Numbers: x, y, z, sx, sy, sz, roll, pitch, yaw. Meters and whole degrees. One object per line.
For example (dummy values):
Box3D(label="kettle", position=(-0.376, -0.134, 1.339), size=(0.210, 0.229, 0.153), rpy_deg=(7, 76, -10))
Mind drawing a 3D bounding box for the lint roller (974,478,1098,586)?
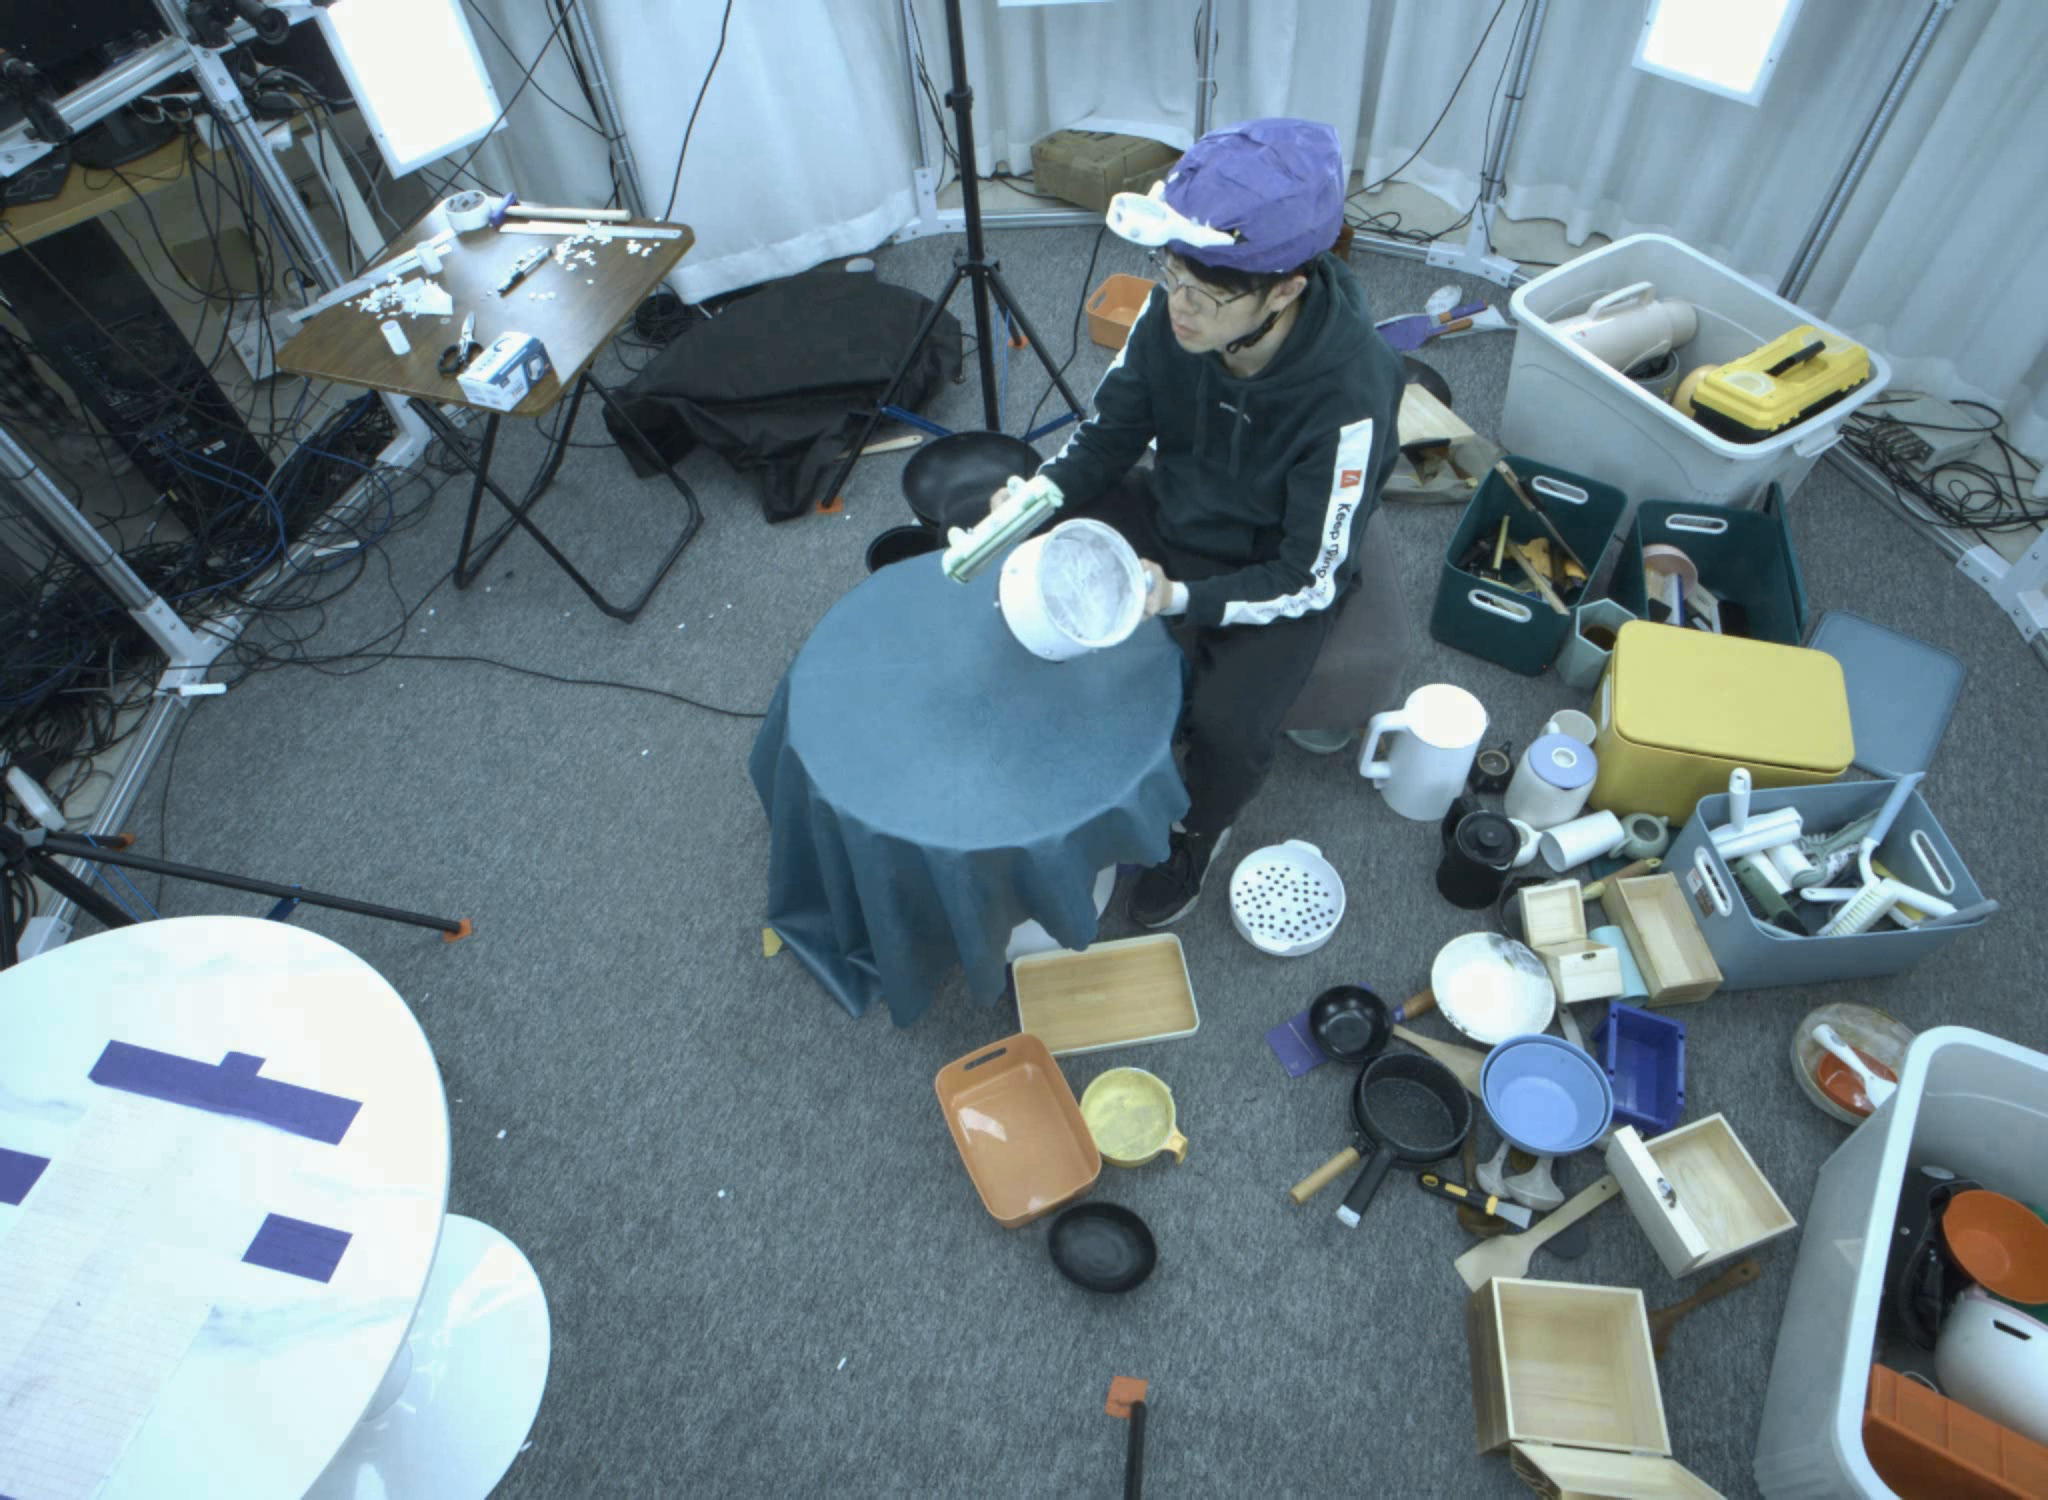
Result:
Box3D(label="lint roller", position=(0.017, -0.336, 1.758), size=(0.197, 0.083, 0.182), rpy_deg=(-35, 19, 24))

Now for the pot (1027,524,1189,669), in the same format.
Box3D(label="pot", position=(0.126, -0.210, 1.698), size=(0.238, 0.134, 0.178), rpy_deg=(-10, 90, -31))
